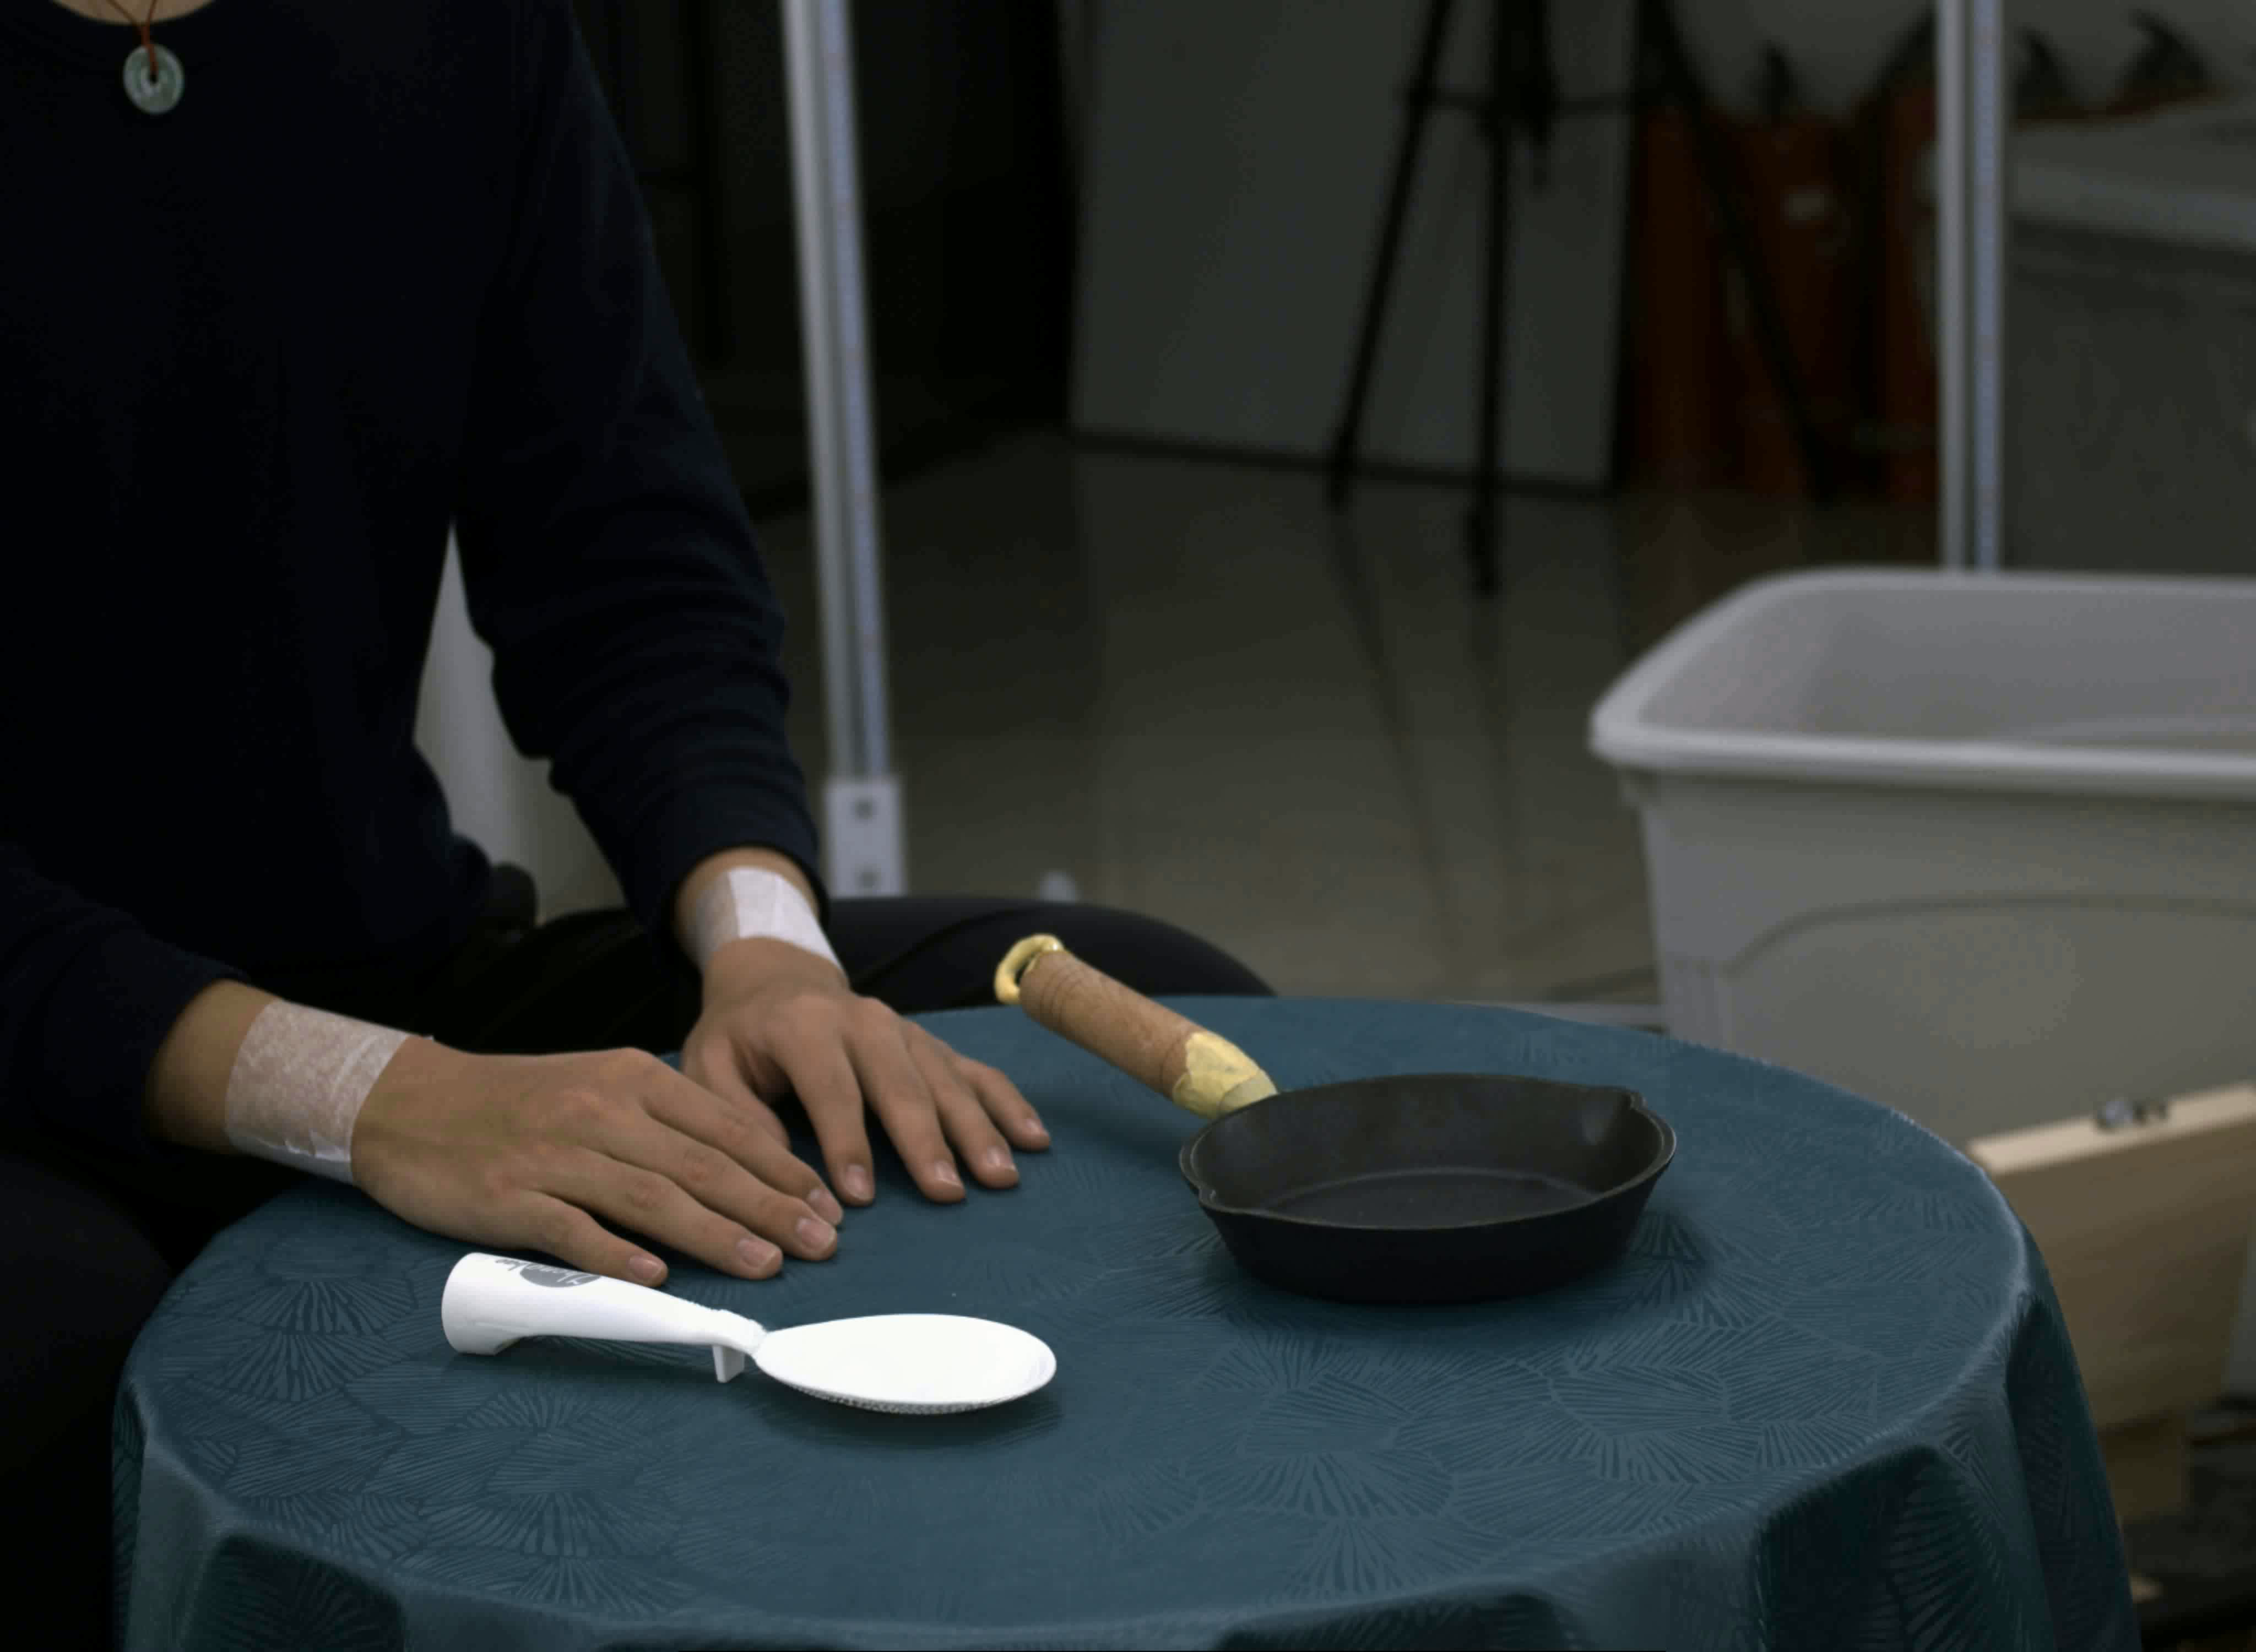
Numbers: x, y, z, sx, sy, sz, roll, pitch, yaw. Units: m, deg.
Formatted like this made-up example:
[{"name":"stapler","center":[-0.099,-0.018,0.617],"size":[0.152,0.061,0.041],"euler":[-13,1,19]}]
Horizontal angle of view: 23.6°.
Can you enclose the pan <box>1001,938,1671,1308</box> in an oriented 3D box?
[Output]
[{"name":"pan","center":[0.050,0.093,1.765],"size":[0.165,0.050,0.328],"euler":[-12,17,-29]}]

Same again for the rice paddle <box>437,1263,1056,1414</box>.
[{"name":"rice paddle","center":[-0.114,0.153,1.615],"size":[0.206,0.030,0.068],"euler":[3,17,28]}]
